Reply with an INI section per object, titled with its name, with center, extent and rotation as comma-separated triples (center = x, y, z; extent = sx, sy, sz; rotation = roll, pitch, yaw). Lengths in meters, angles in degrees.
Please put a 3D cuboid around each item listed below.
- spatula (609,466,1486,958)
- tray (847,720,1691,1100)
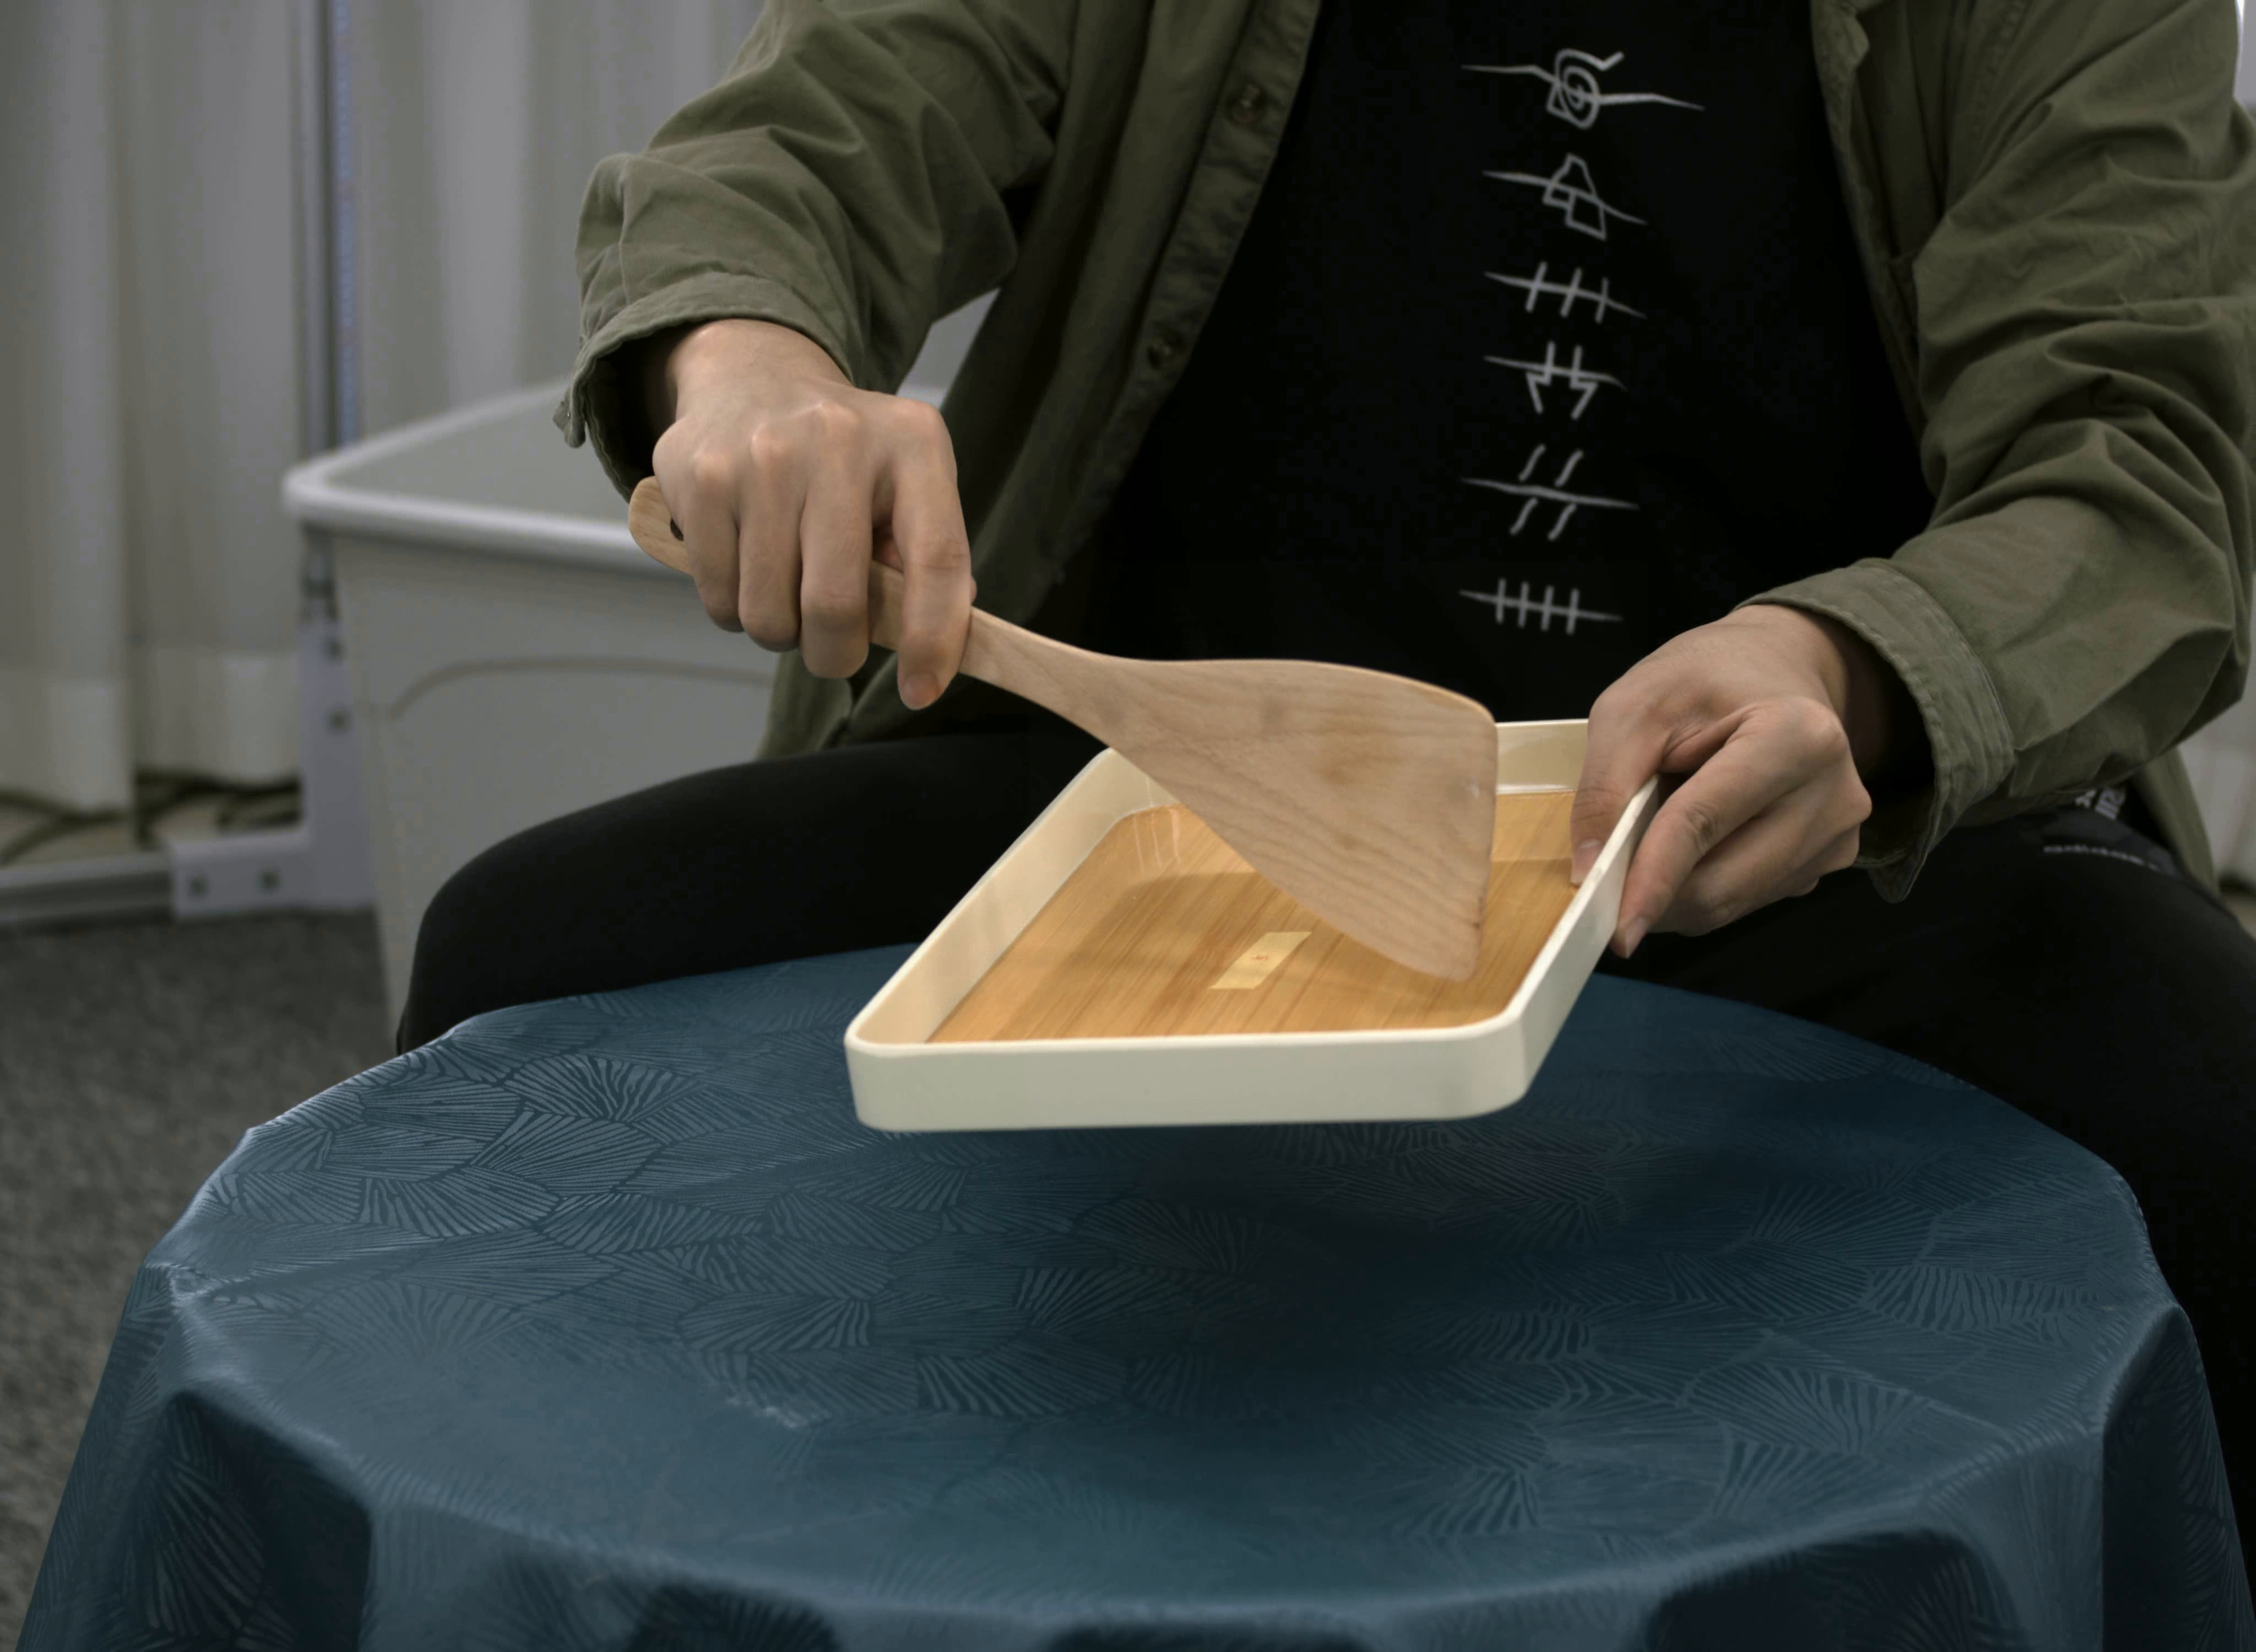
[spatula]
center = -0.028, -0.050, 1.533
extent = 0.323, 0.080, 0.016
rotation = 22, 19, 29
[tray]
center = 0.050, 0.021, 1.544
extent = 0.190, 0.027, 0.300
rotation = -1, 15, 16
